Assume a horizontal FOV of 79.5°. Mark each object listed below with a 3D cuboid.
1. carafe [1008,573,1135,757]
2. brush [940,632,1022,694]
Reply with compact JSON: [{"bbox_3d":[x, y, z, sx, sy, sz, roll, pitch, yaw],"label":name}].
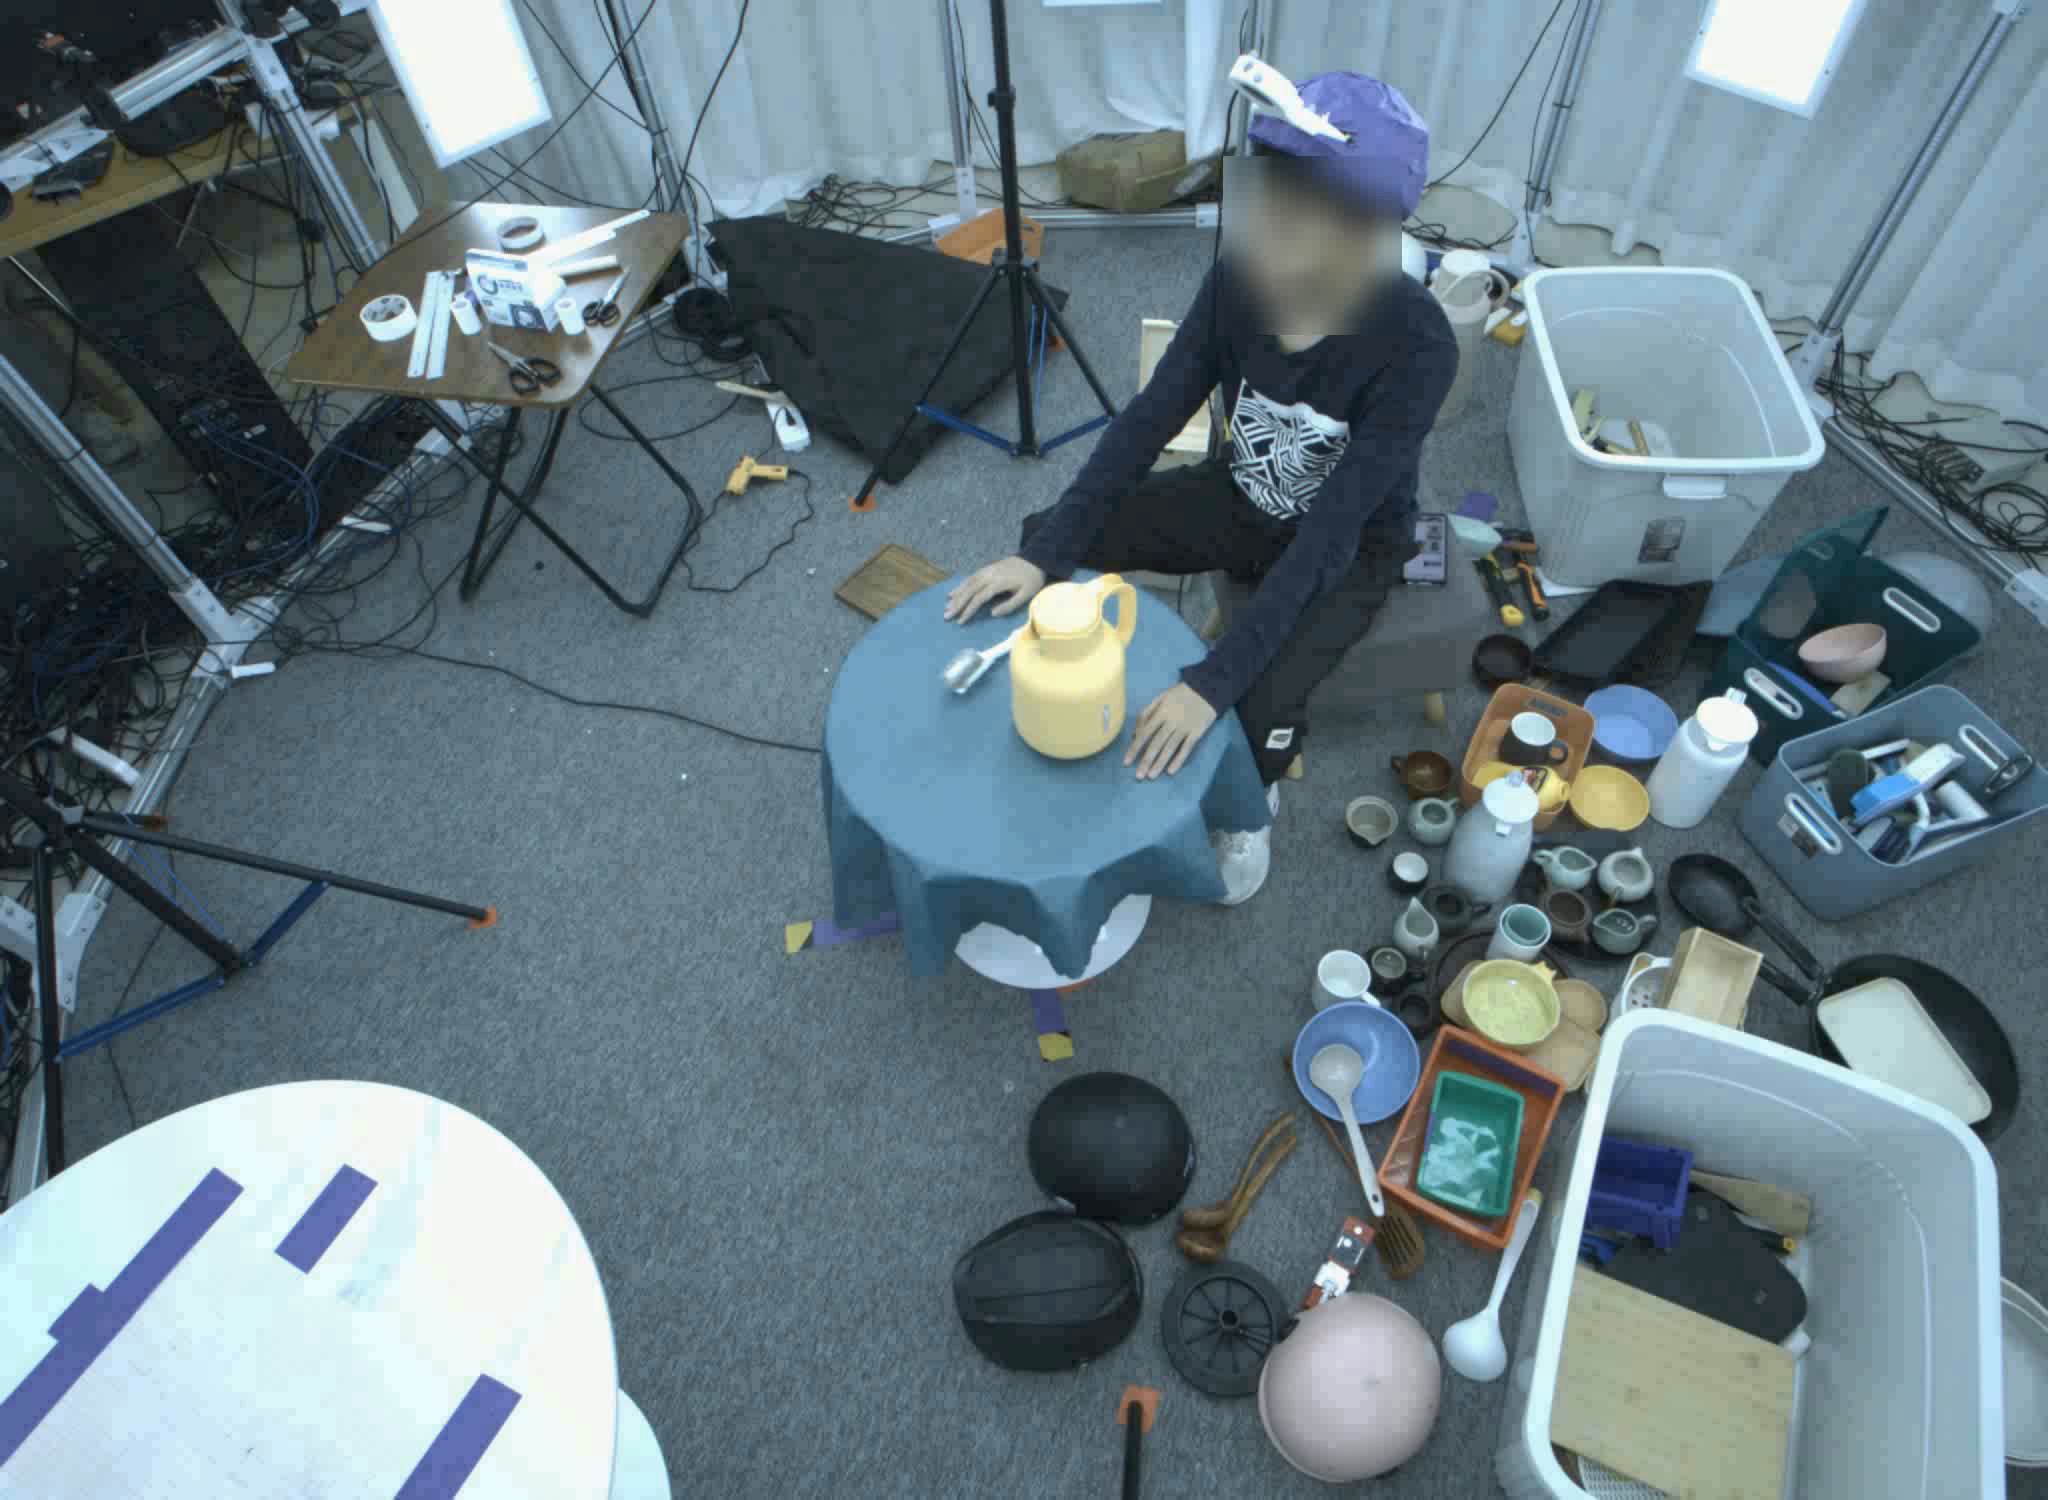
[{"bbox_3d":[0.074,-0.126,1.706,0.204,0.263,0.160,-37,62,-20],"label":"carafe"},{"bbox_3d":[-0.024,-0.164,1.868,0.245,0.051,0.033,-35,55,-20],"label":"brush"}]
